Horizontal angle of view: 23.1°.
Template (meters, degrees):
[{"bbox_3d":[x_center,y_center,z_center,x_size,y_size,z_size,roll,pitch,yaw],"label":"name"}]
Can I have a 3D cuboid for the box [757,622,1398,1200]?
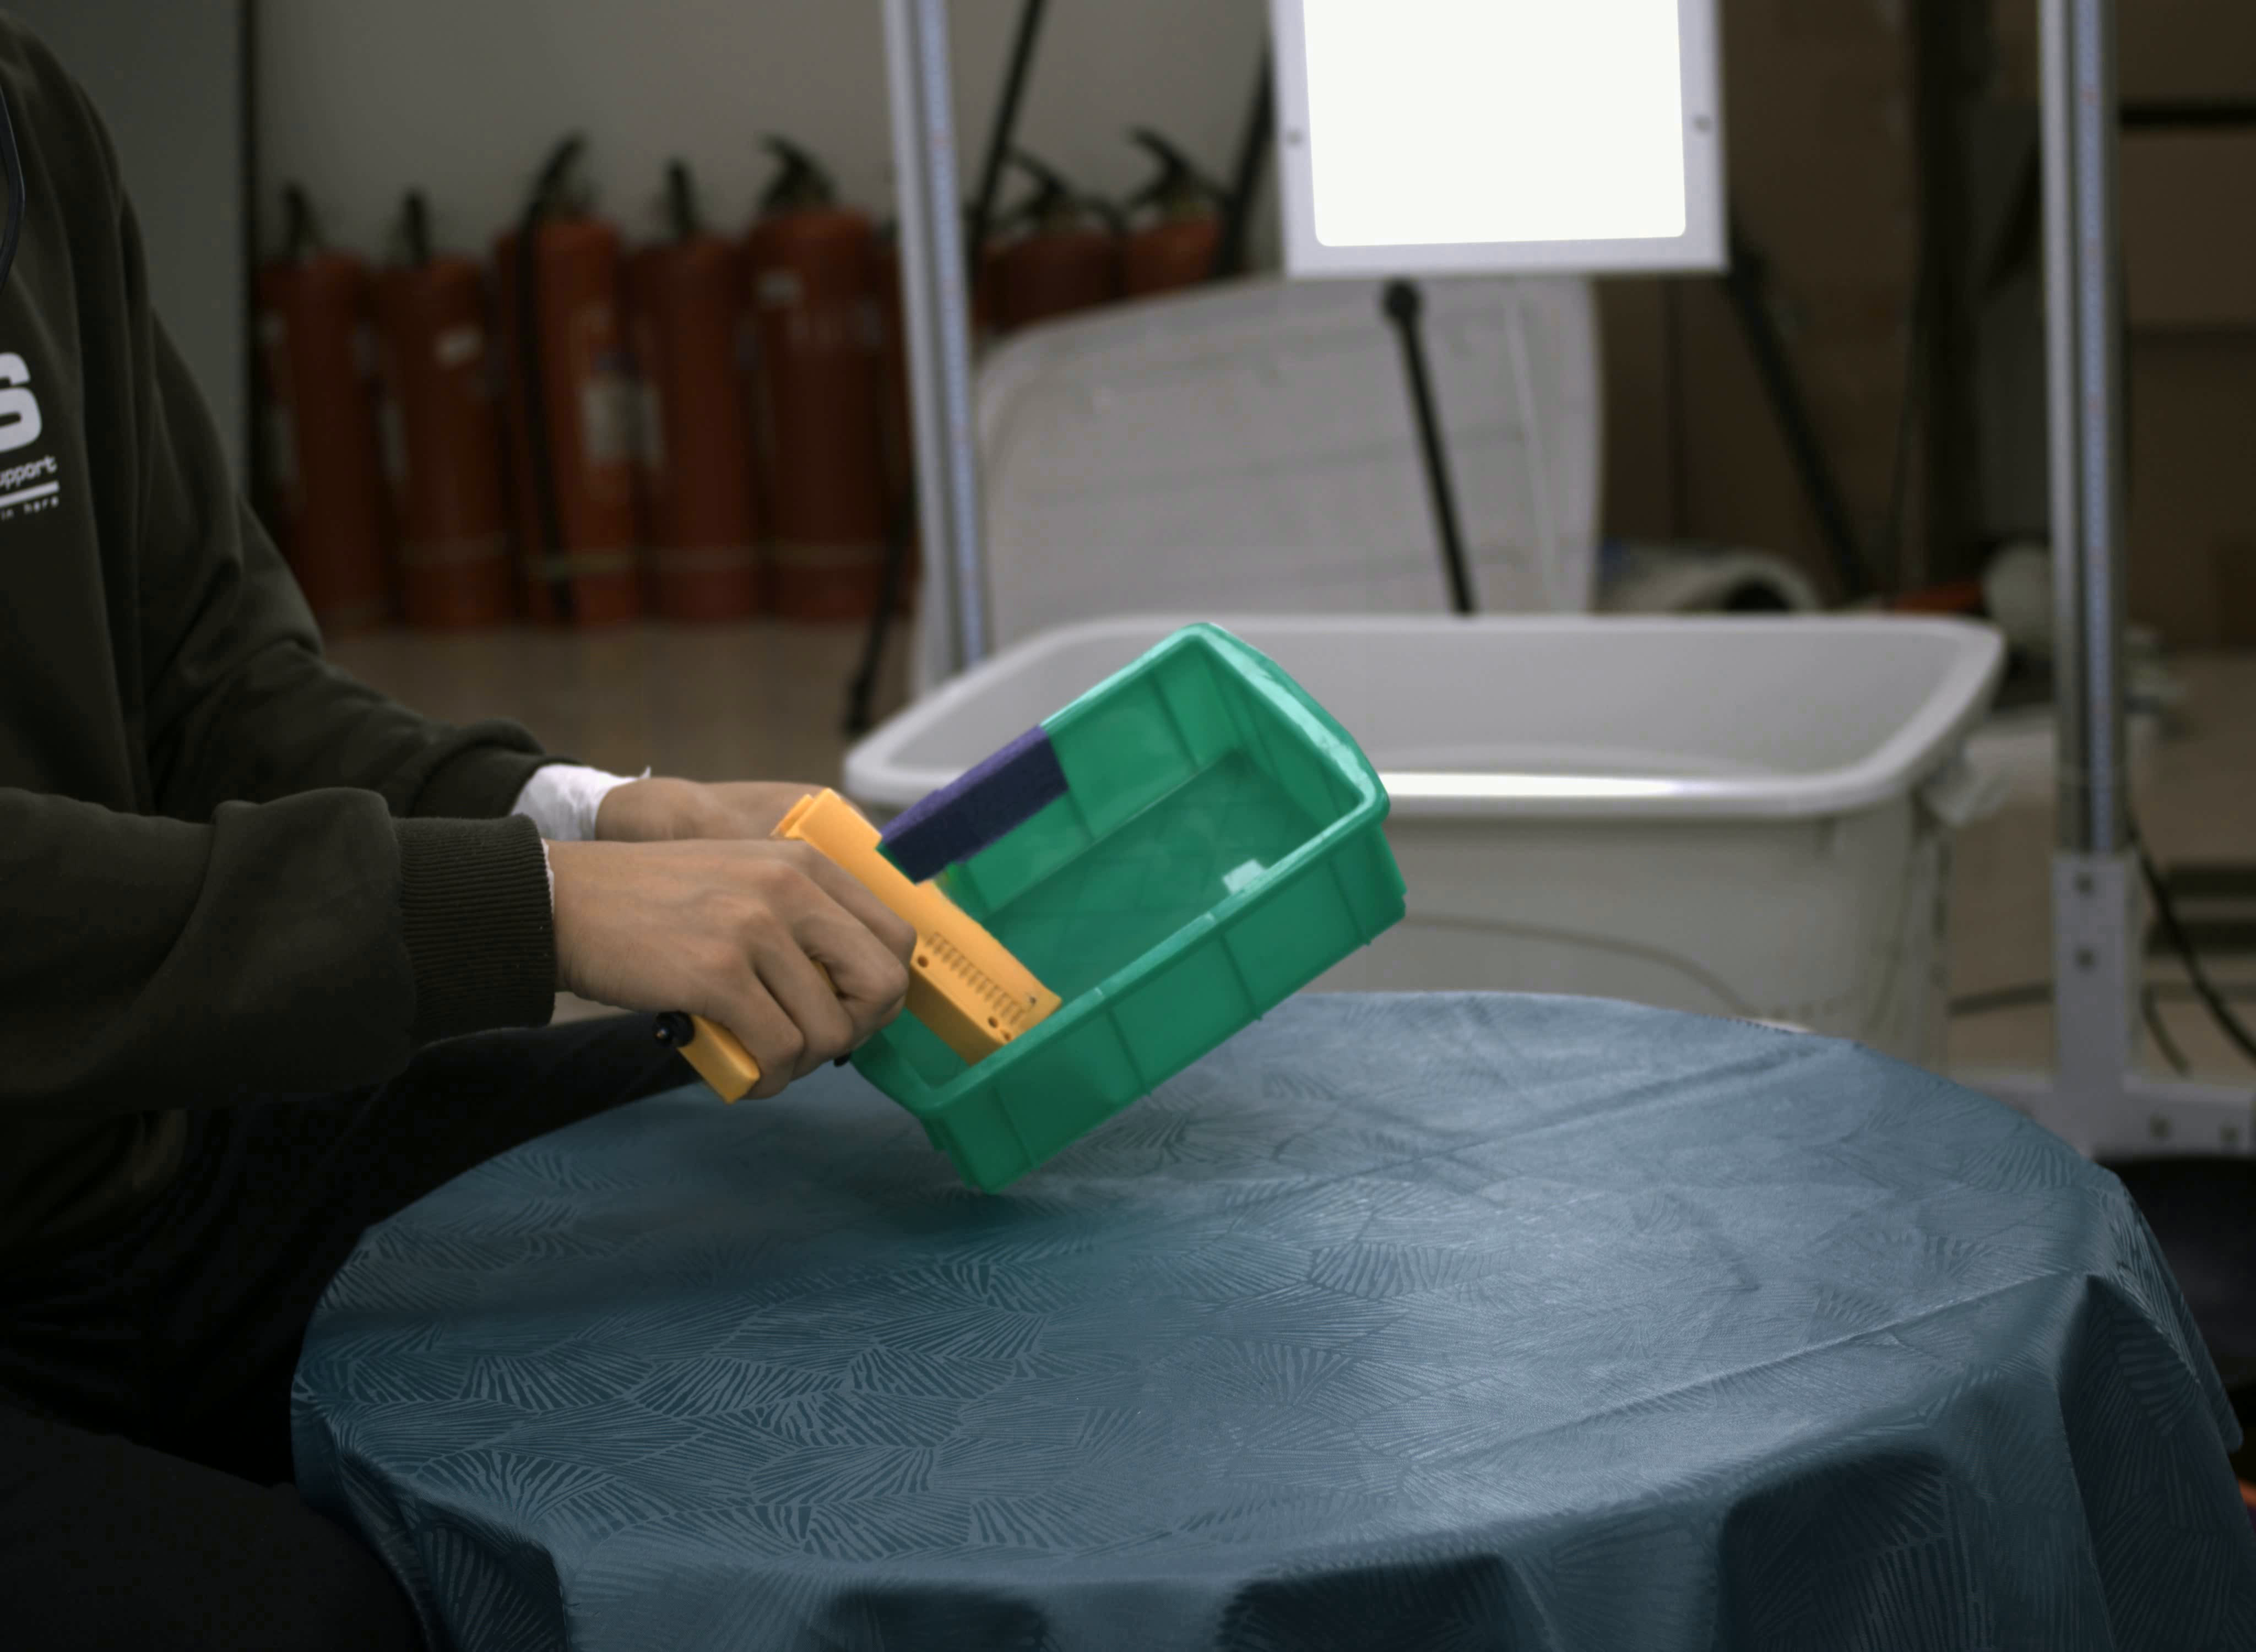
[{"bbox_3d":[-0.013,0.032,1.944,0.209,0.065,0.140,-37,41,-7],"label":"box"}]

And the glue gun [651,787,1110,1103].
[{"bbox_3d":[-0.078,0.072,1.880,0.032,0.150,0.131,-45,10,44],"label":"glue gun"}]
